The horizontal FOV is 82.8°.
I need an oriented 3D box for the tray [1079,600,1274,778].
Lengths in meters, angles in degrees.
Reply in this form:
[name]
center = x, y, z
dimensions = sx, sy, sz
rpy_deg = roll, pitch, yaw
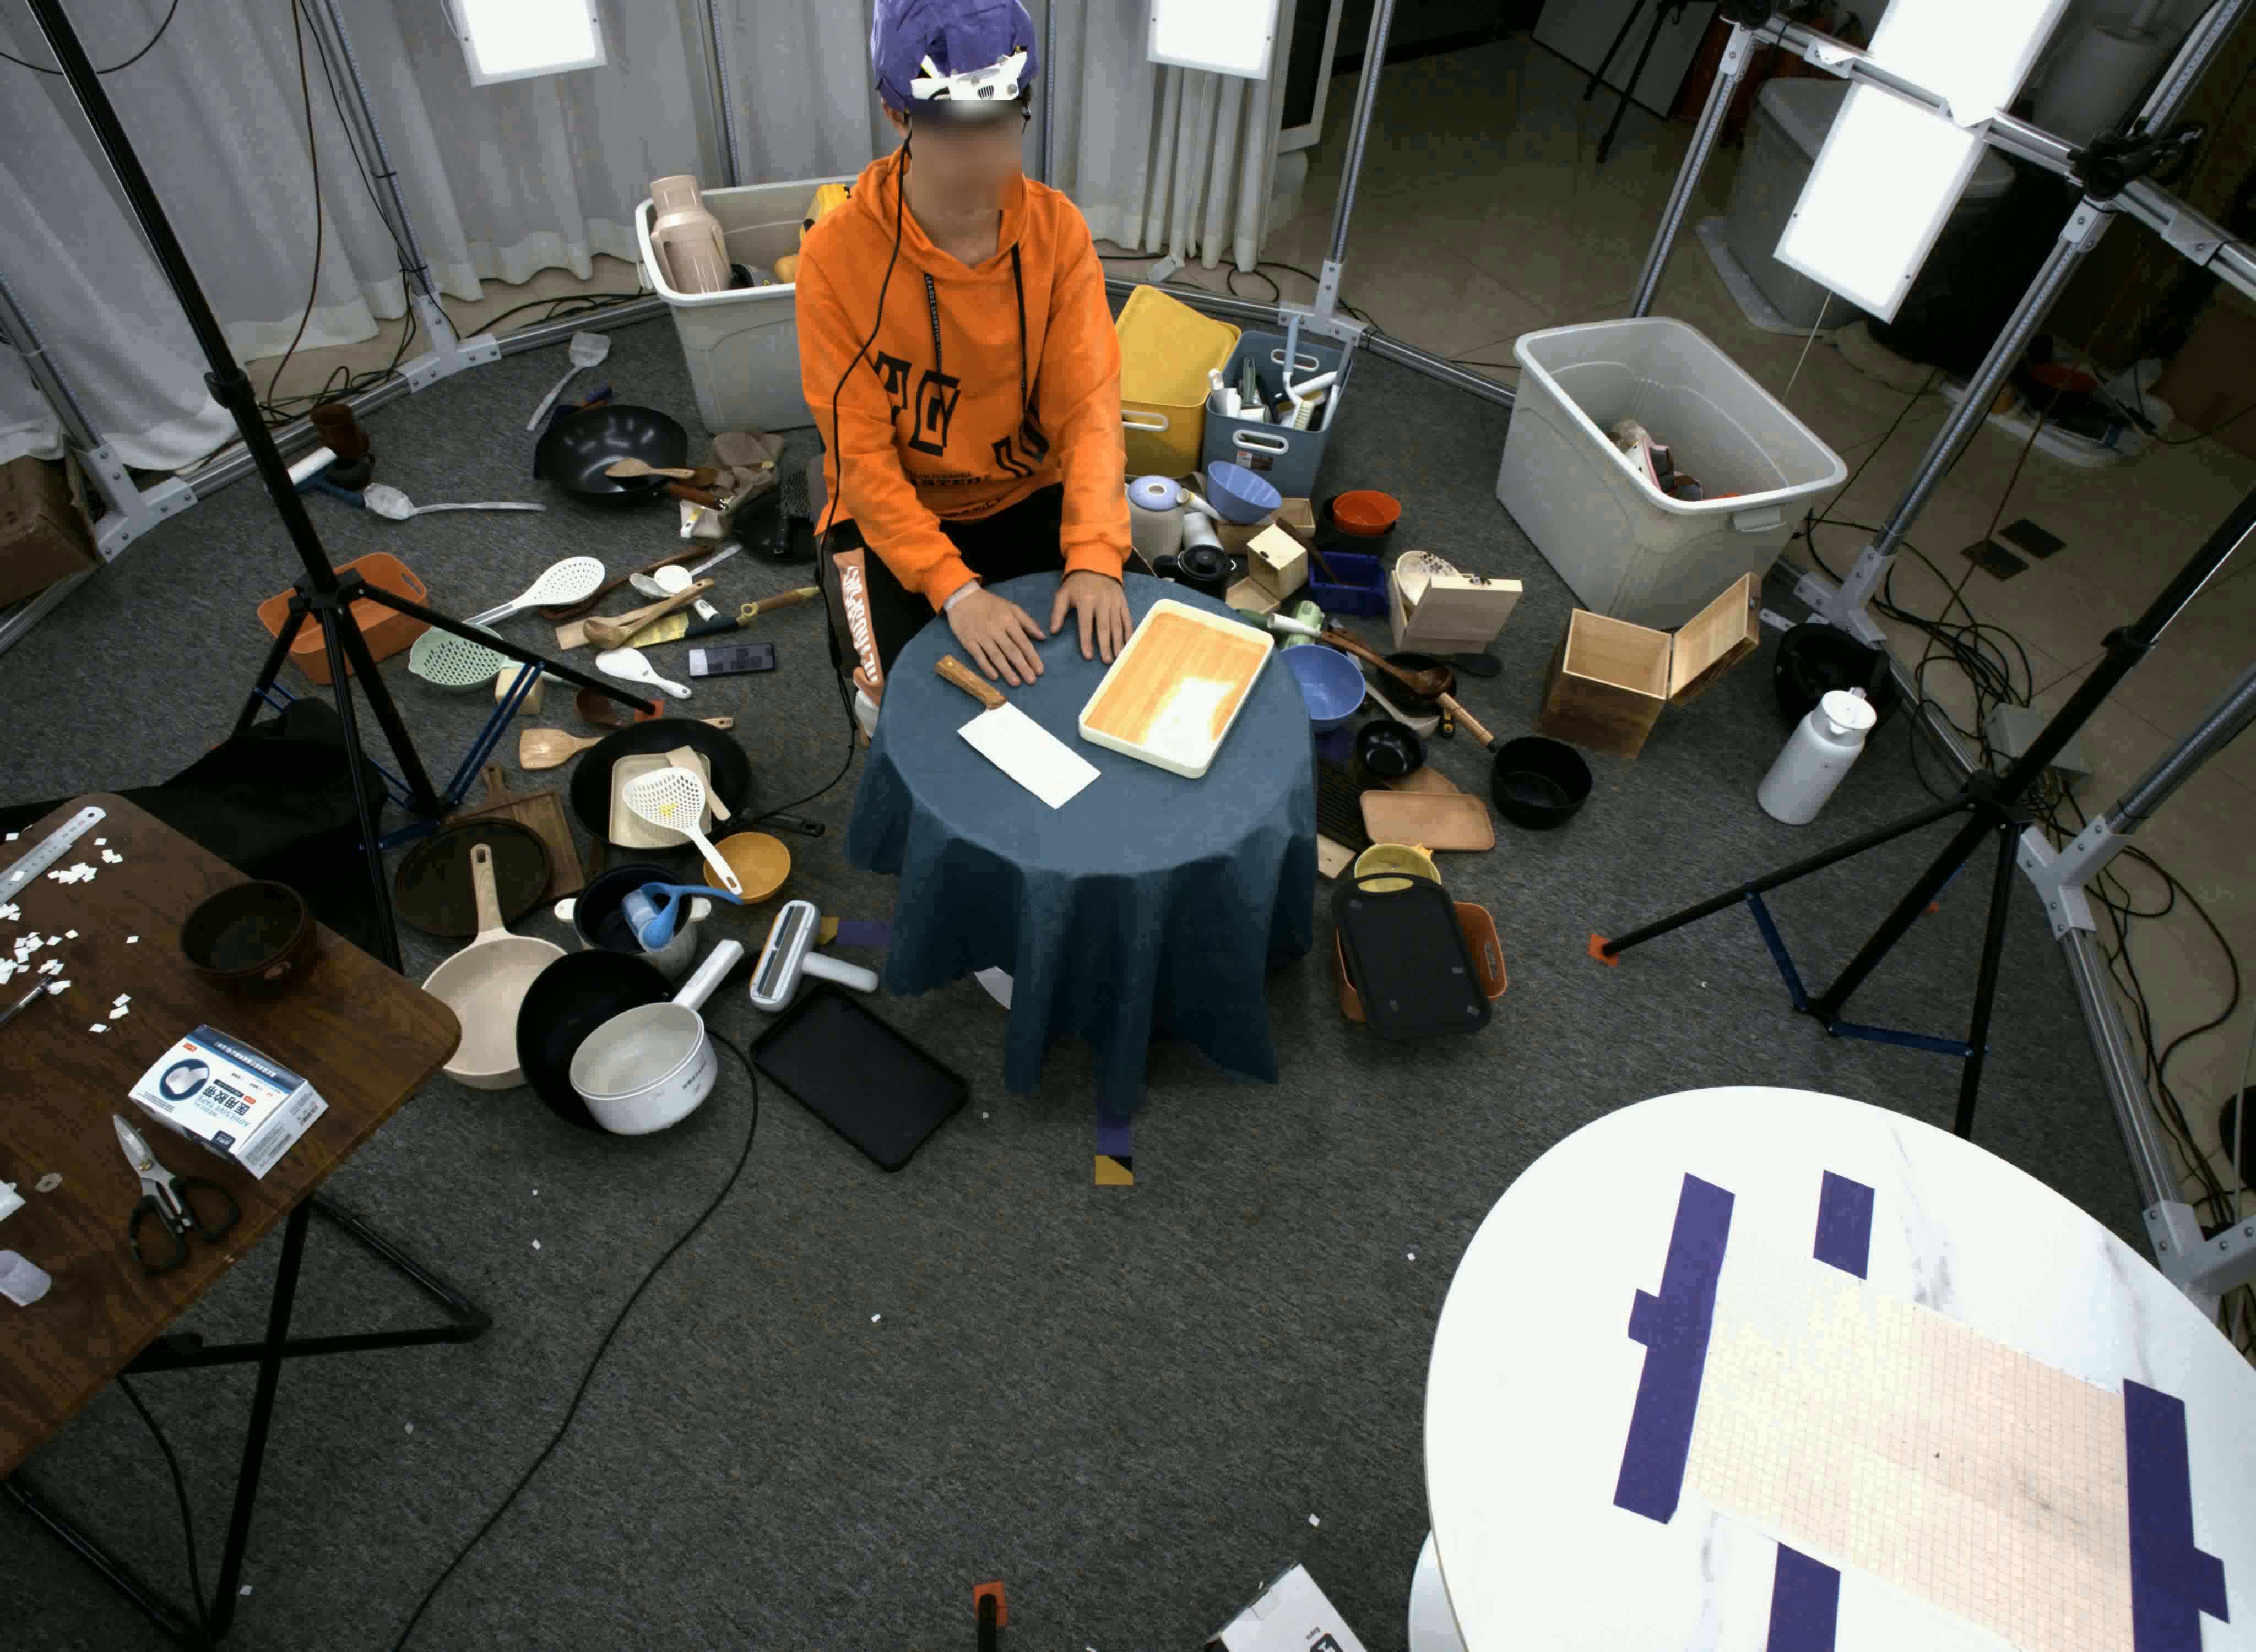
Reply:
[tray]
center = 0.073, -0.202, 1.831
dimensions = 0.192, 0.027, 0.306
rpy_deg = 20, 51, 14

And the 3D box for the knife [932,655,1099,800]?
[knife]
center = -0.175, -0.134, 1.763
dimensions = 0.310, 0.020, 0.094
rpy_deg = 38, 58, 23
